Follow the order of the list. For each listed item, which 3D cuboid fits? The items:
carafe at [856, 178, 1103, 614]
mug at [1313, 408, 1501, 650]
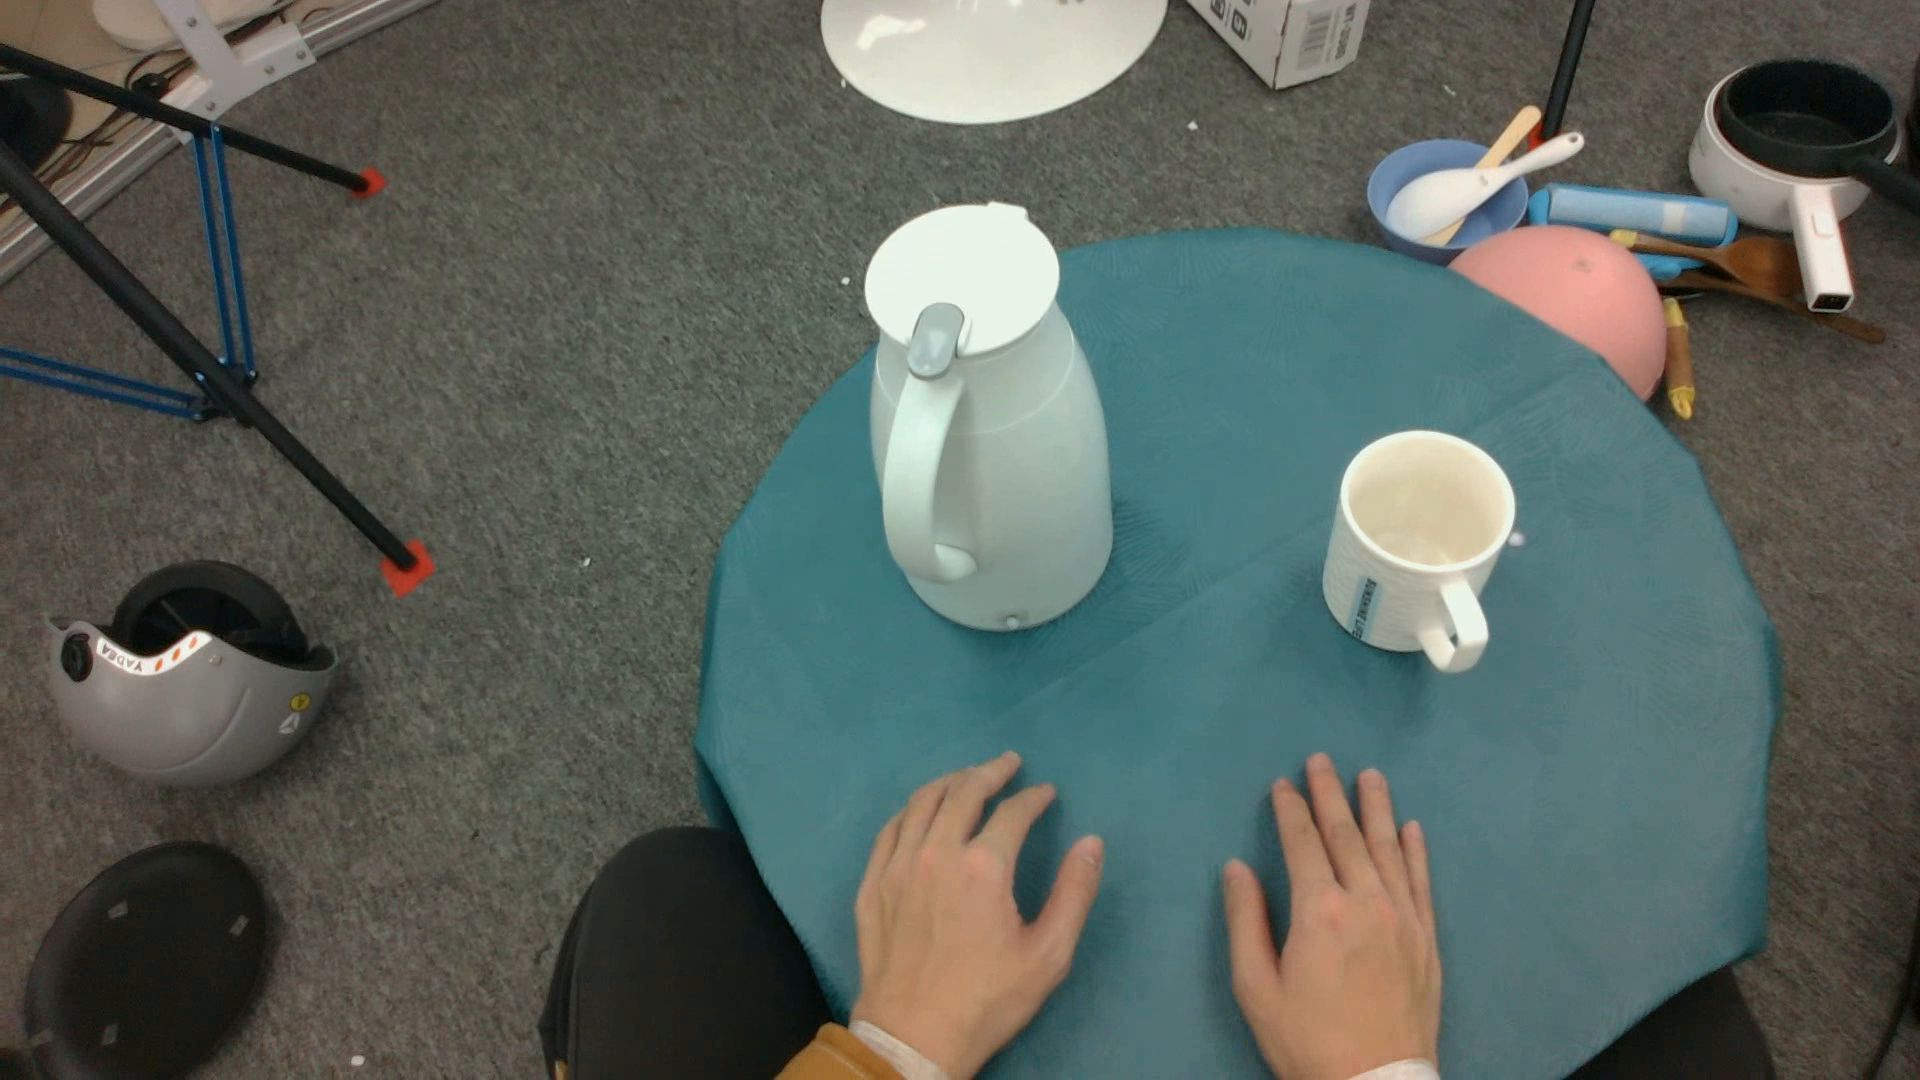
[{"bbox_3d":[0.004,-0.058,0.727,0.132,0.247,0.168,13,63,13],"label":"carafe"},{"bbox_3d":[0.245,0.005,0.746,0.085,0.101,0.118,-15,59,-2],"label":"mug"}]
